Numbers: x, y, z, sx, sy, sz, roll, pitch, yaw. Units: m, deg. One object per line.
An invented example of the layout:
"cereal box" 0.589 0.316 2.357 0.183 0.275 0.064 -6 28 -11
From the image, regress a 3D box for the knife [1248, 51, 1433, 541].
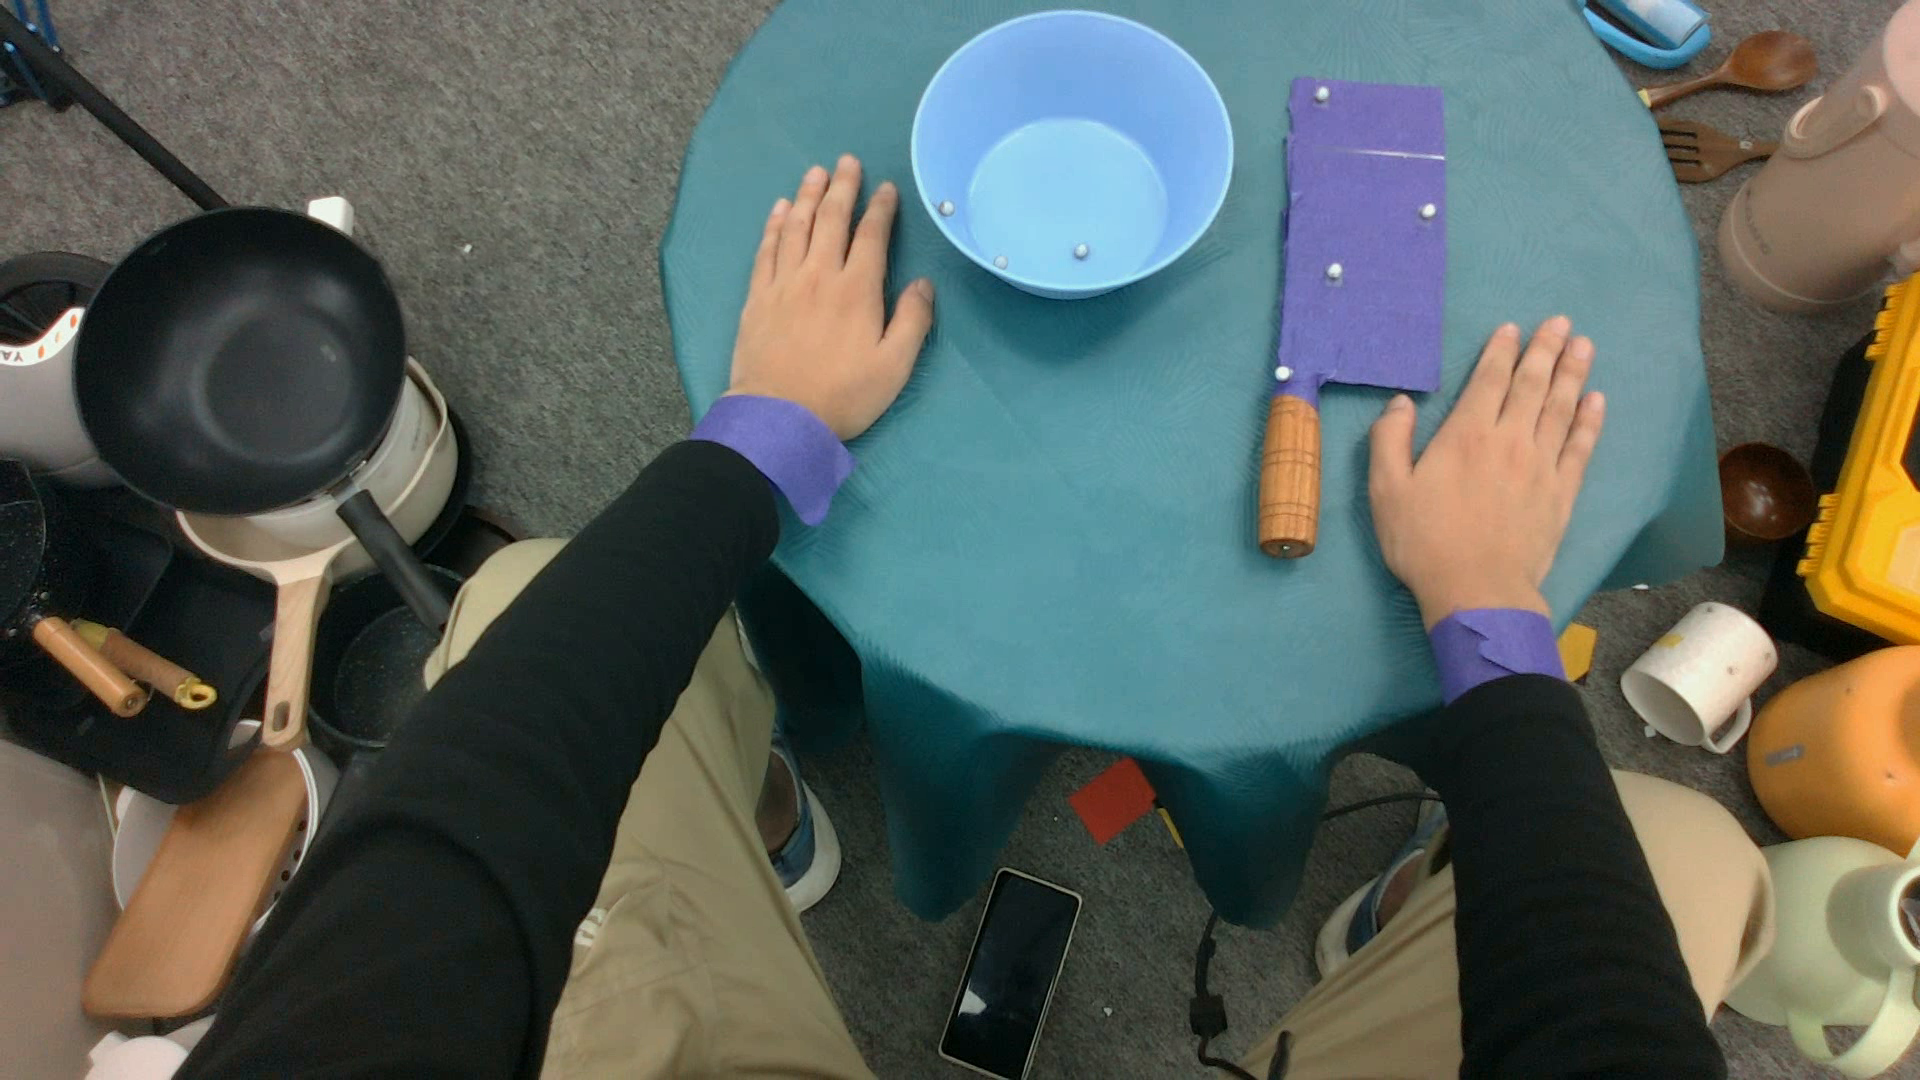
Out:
"knife" 0.216 -0.148 0.783 0.104 0.032 0.316 6 71 3

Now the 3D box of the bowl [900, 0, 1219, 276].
"bowl" 0.056 -0.218 0.785 0.176 0.070 0.176 -1 73 2
